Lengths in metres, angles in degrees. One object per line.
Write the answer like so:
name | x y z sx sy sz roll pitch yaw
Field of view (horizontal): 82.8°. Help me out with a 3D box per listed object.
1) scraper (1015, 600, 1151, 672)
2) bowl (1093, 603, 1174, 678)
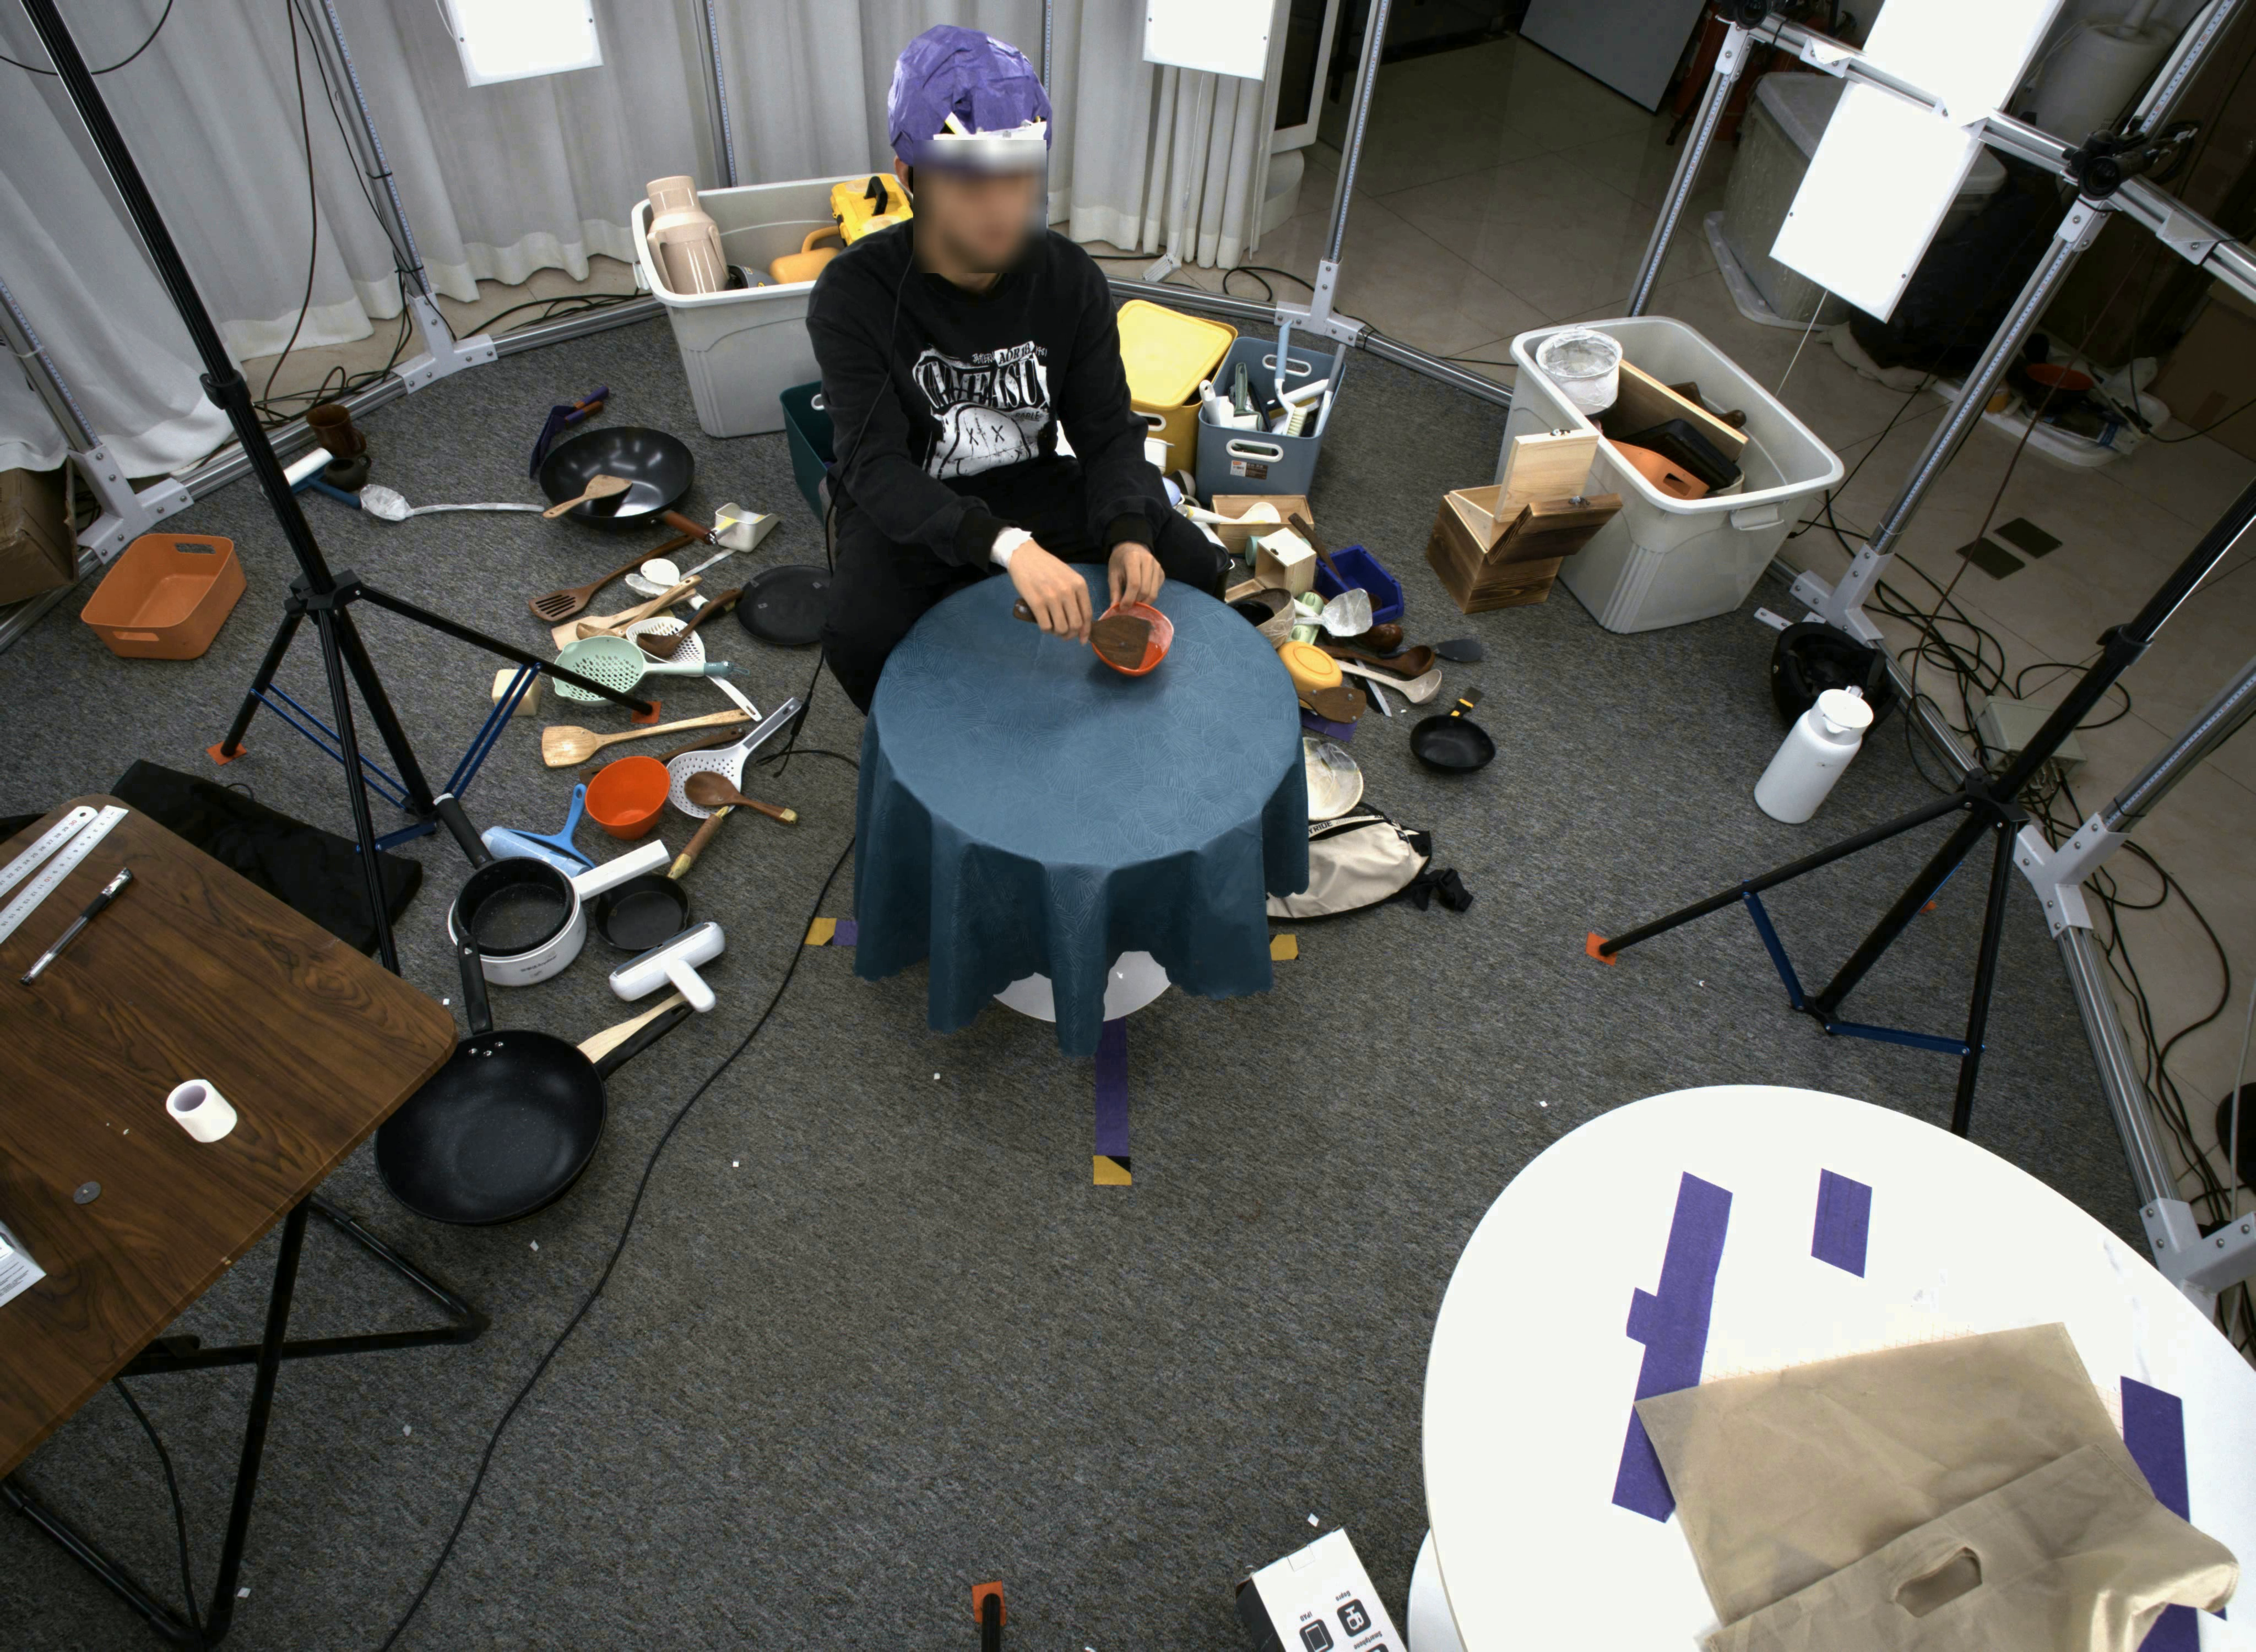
scraper | -0.062 -0.274 1.787 0.209 0.076 0.011 13 2 -30
bowl | 0.008 -0.262 1.870 0.119 0.050 0.121 0 66 1
